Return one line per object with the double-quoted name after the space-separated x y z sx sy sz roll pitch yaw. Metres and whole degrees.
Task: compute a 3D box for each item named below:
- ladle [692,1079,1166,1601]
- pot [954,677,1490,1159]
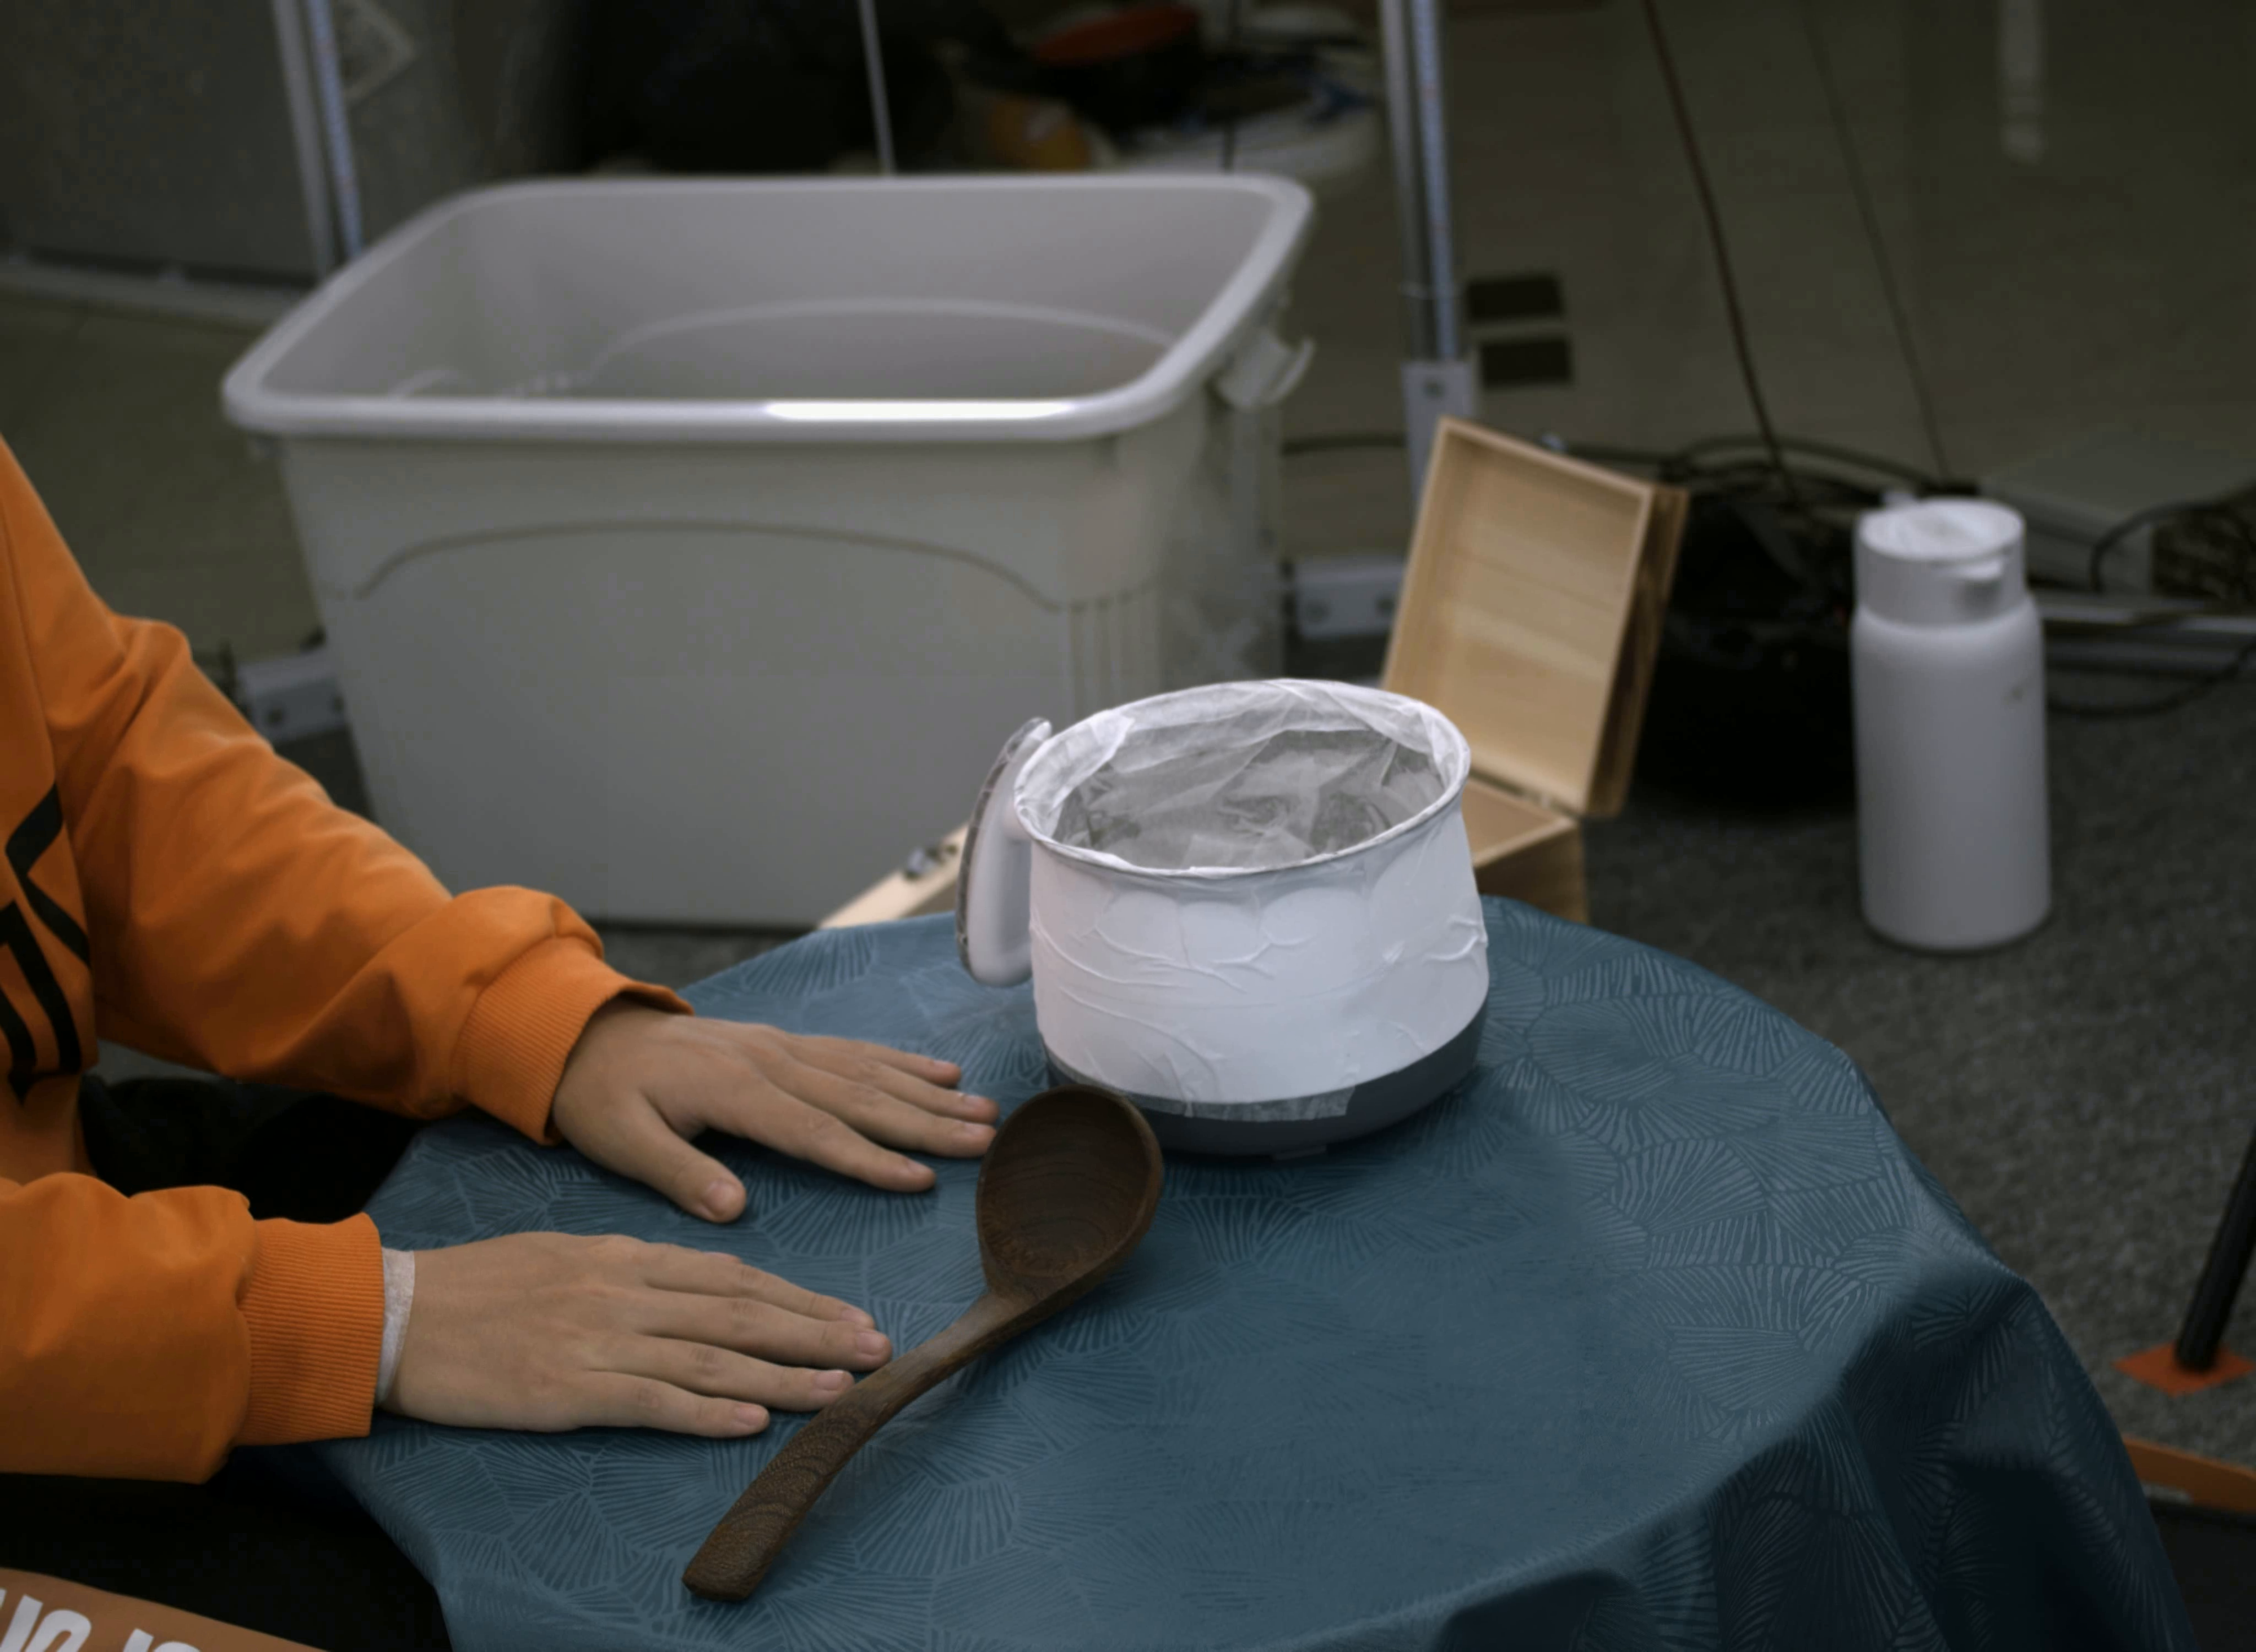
-0.075 0.175 2.004 0.076 0.072 0.271 4 26 33 "ladle"
0.027 0.032 2.204 0.232 0.139 0.177 12 31 34 "pot"
